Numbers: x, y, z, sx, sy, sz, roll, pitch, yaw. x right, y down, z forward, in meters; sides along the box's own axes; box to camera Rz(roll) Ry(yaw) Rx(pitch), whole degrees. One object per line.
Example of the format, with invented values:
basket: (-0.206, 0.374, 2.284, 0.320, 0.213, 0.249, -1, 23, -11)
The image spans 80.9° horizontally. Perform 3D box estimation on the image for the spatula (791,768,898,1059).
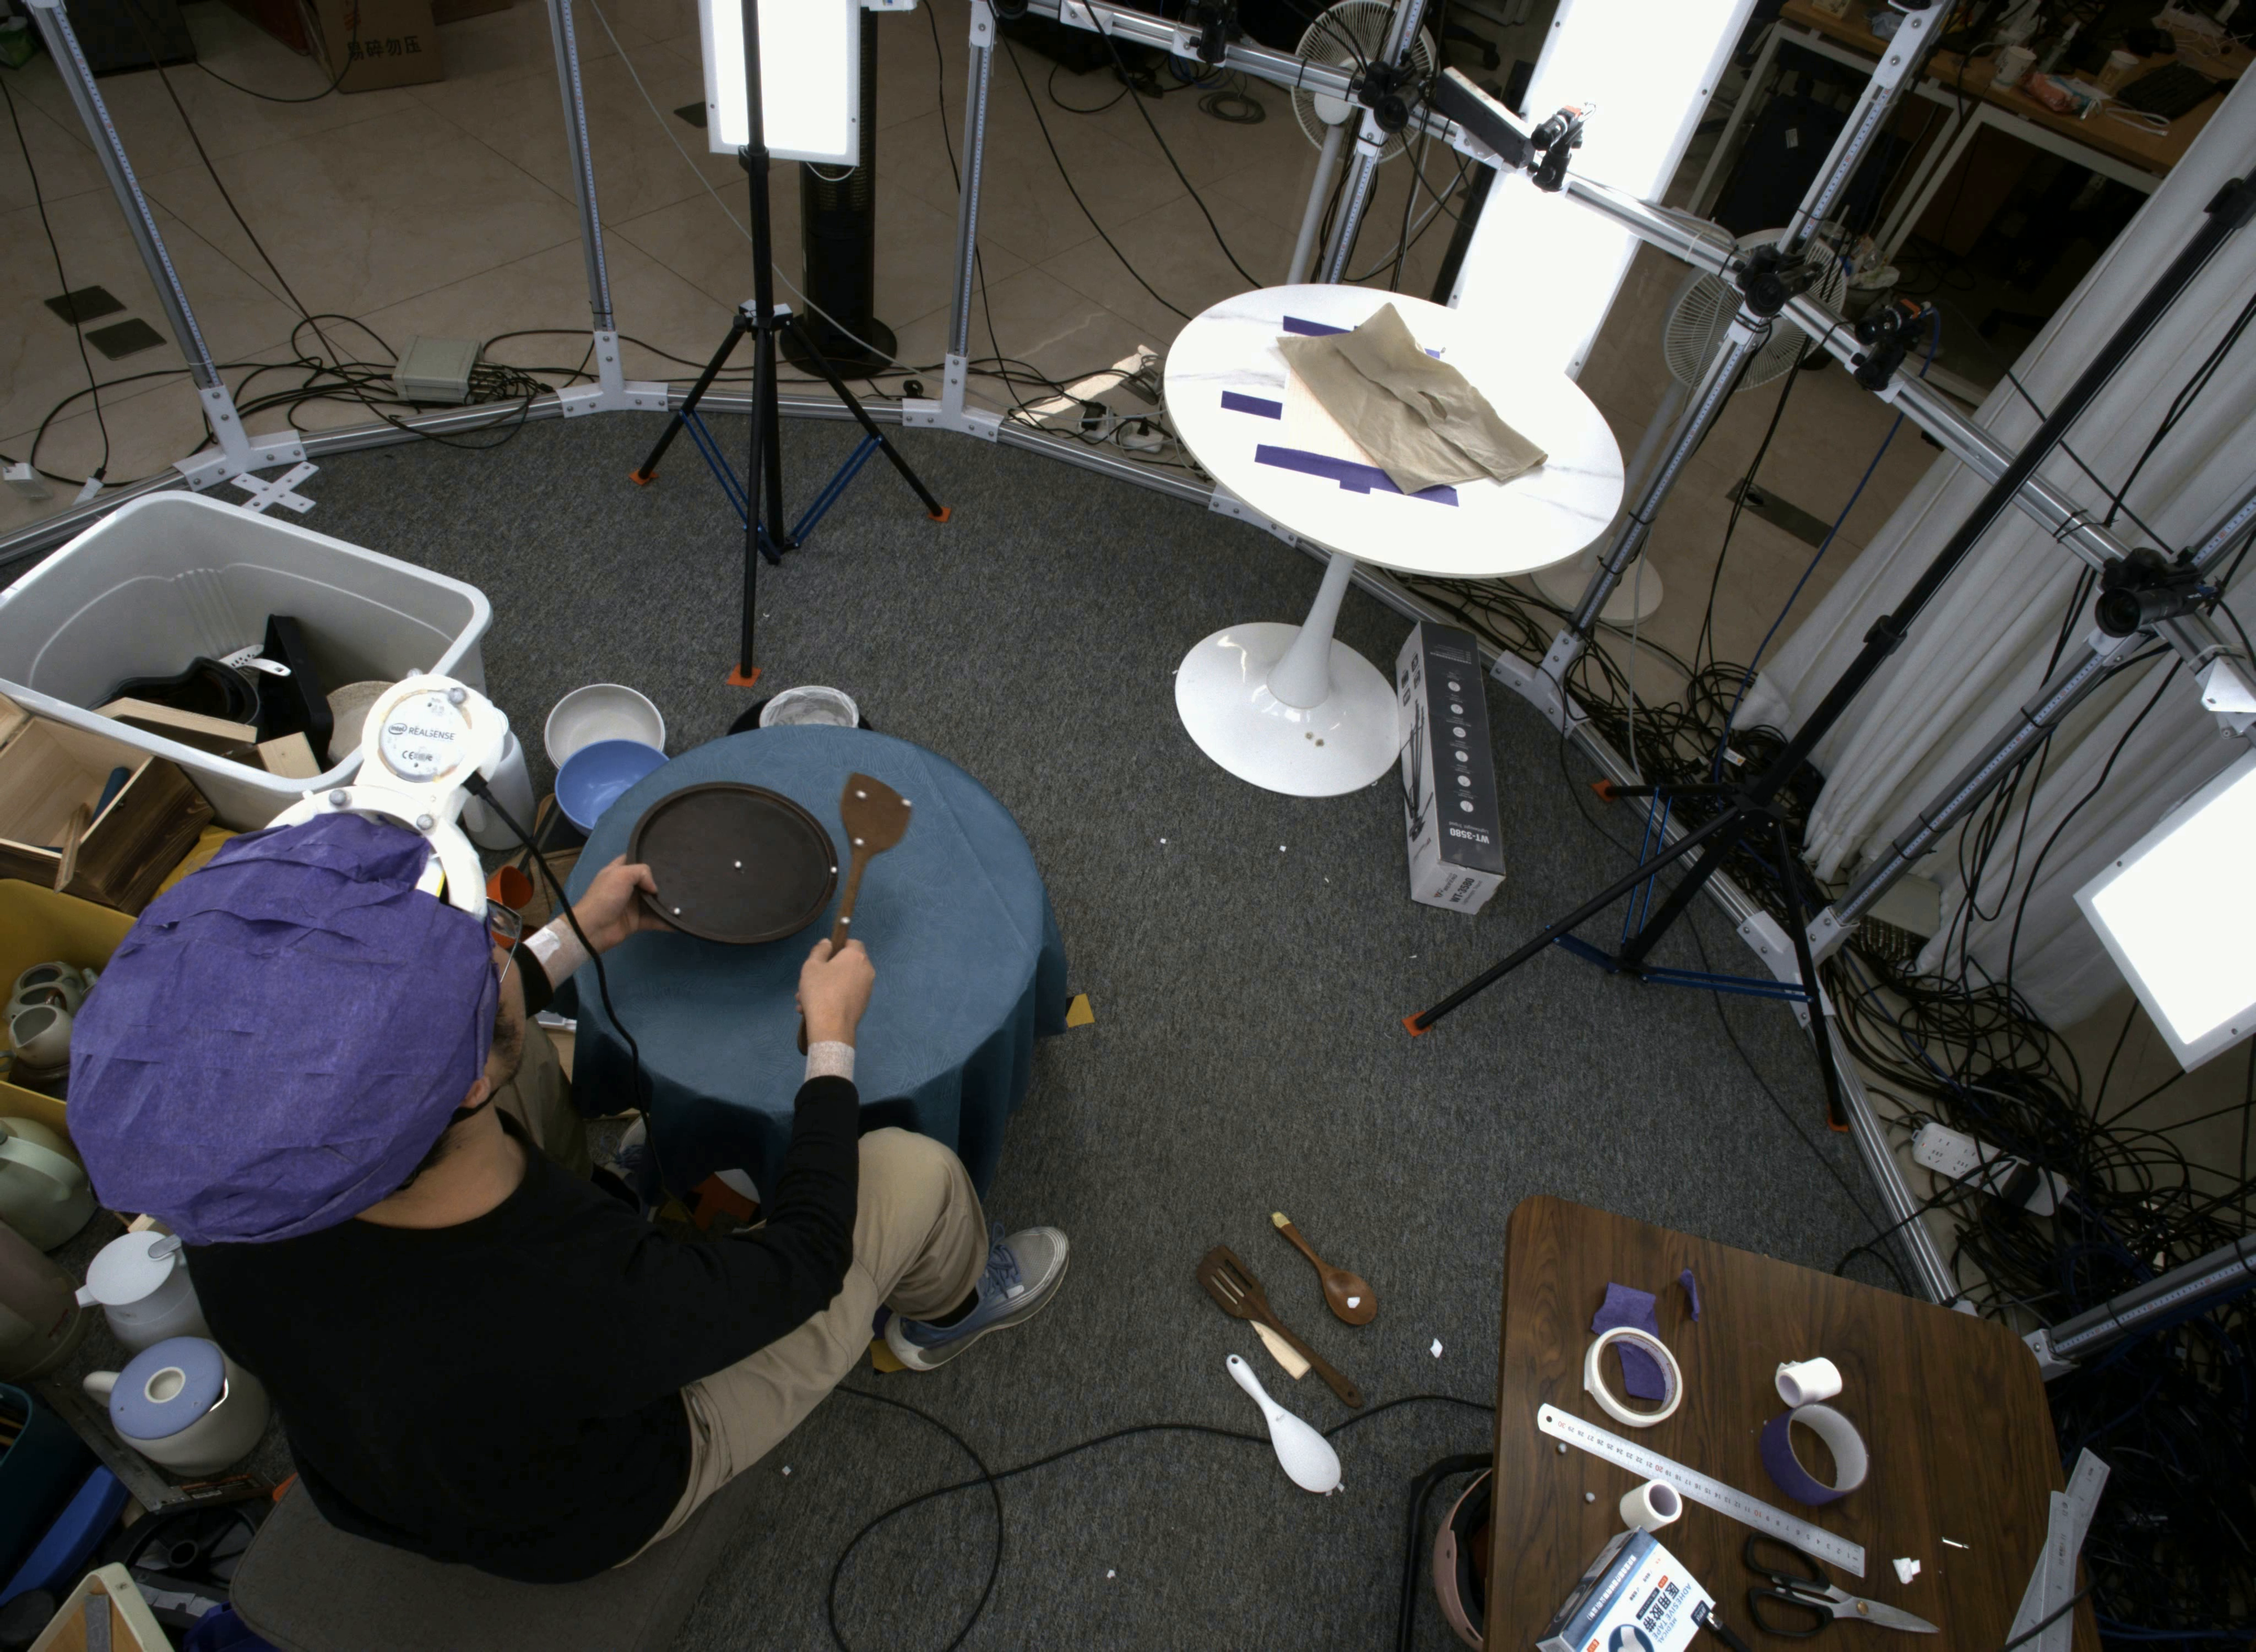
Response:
spatula: (-0.334, 0.092, 1.488, 0.099, 0.015, 0.379, 33, 44, -32)

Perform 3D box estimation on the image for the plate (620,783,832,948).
plate: (-0.487, 0.044, 1.566, 0.256, 0.029, 0.249, 17, 44, -15)
